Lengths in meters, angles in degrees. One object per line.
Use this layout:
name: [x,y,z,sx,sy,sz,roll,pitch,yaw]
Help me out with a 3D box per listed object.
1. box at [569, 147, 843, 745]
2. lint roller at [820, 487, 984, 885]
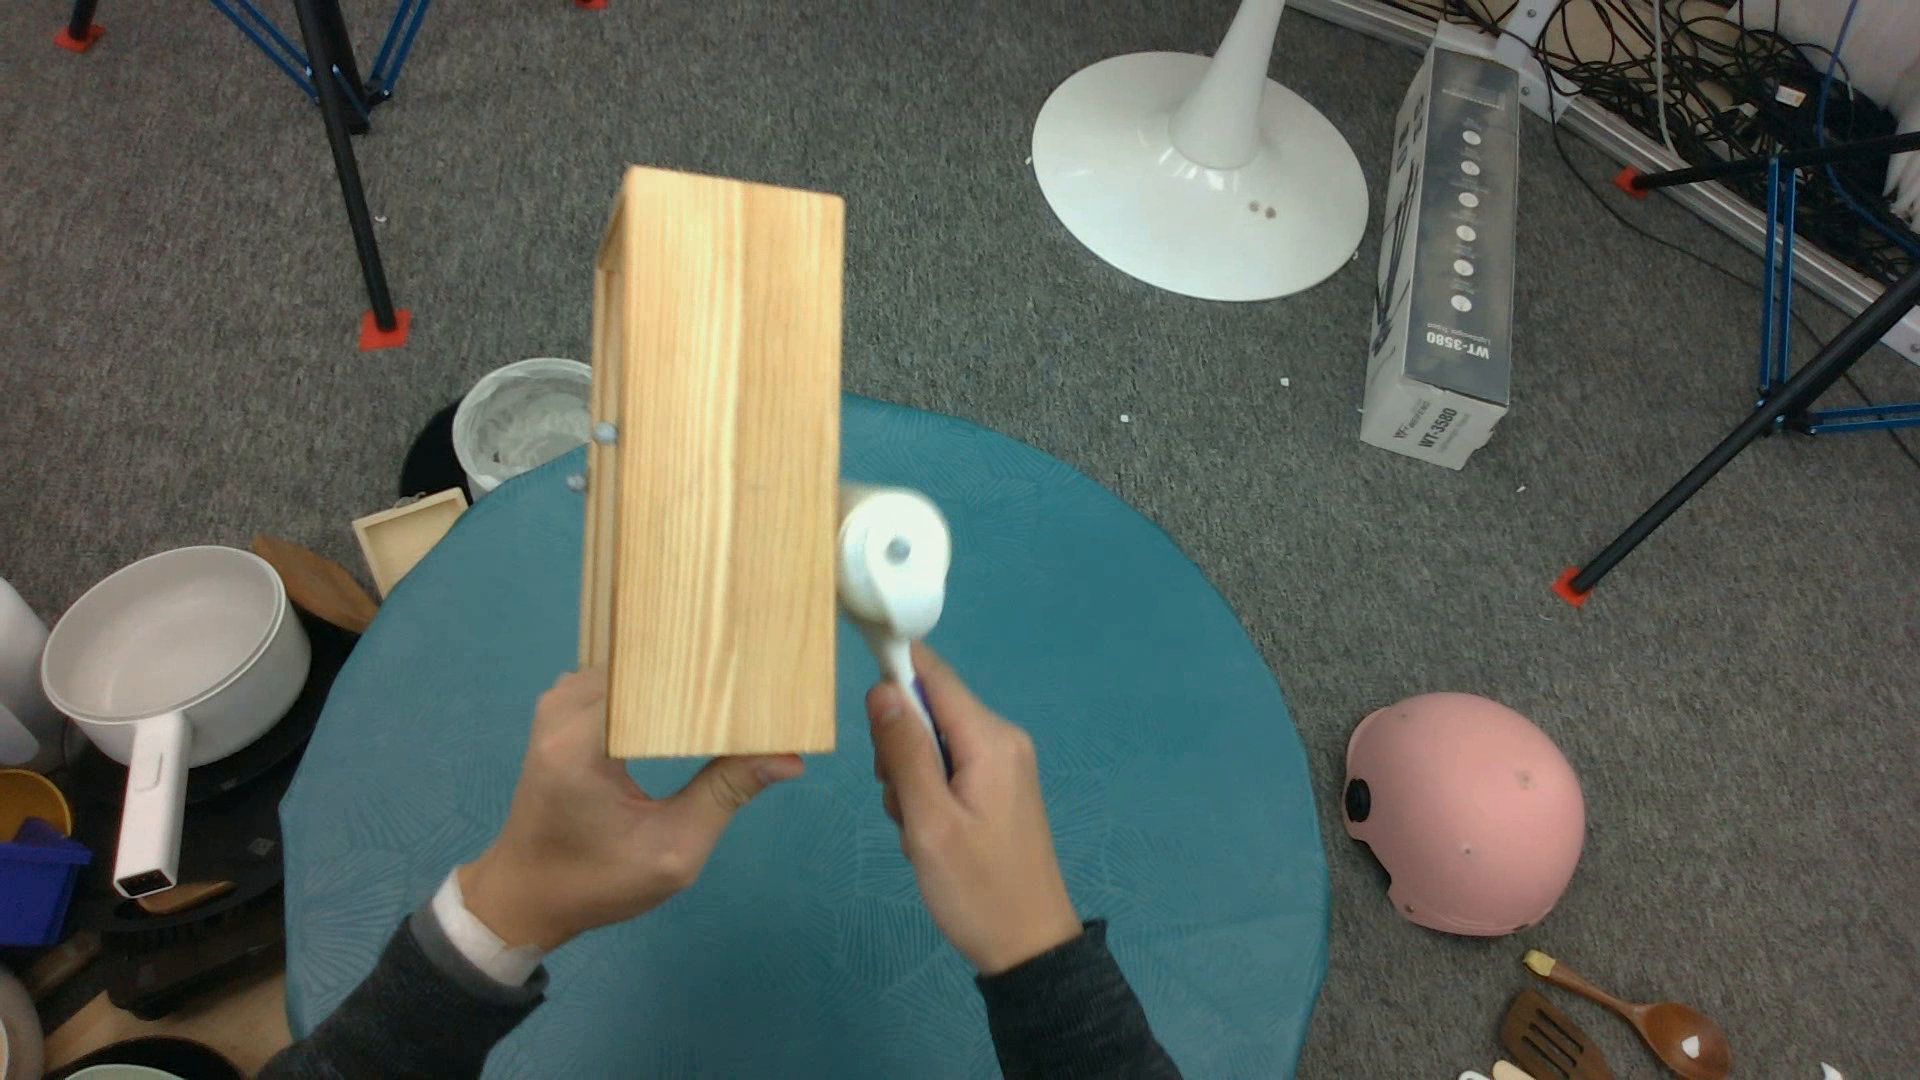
box: [-0.103,-0.029,0.537,0.080,0.107,0.211,0,82,-23]
lint roller: [-0.018,0.060,0.574,0.050,0.133,0.180,-32,104,-17]
